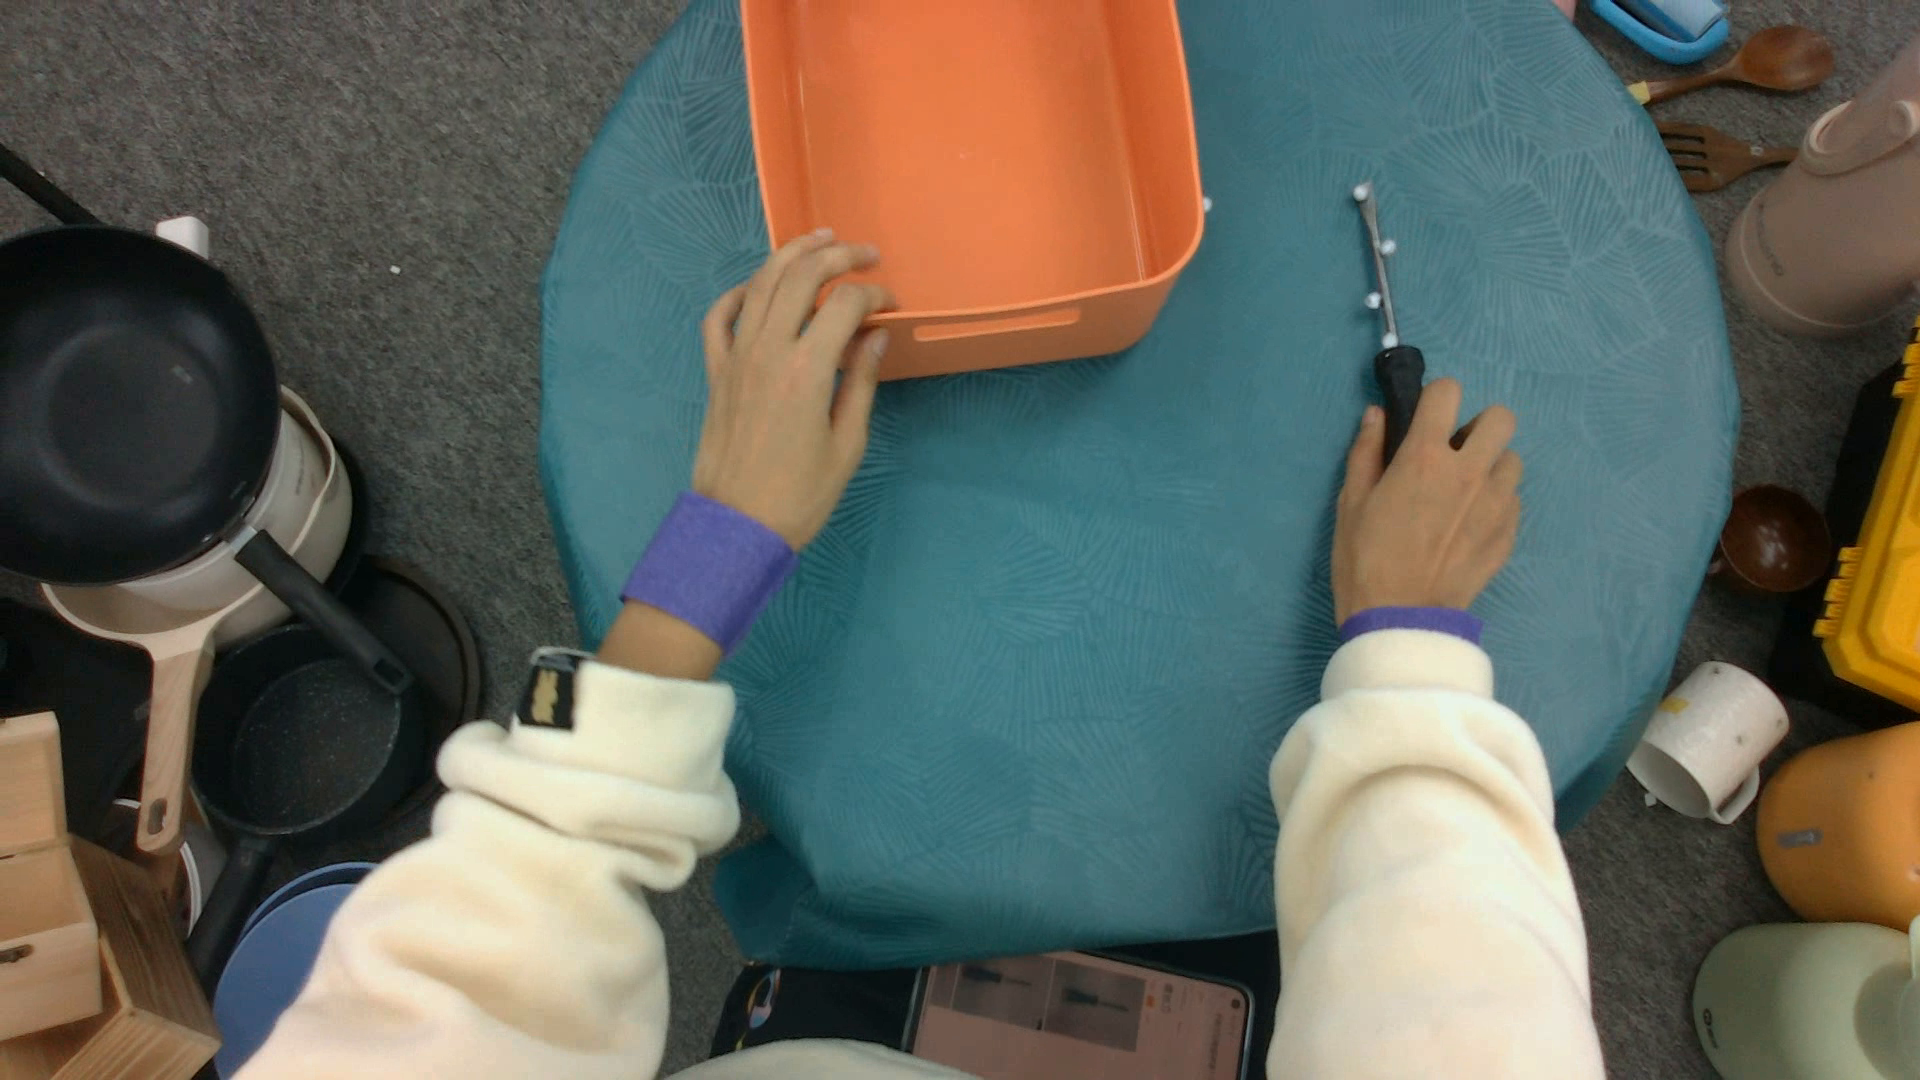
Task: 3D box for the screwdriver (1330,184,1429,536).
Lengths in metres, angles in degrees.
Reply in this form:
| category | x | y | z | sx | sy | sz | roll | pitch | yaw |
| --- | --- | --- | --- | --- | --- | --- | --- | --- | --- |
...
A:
| category | x | y | z | sx | sy | sz | roll | pitch | yaw |
| --- | --- | --- | --- | --- | --- | --- | --- | --- | --- |
| screwdriver | 0.195 | -0.092 | 0.670 | 0.031 | 0.031 | 0.198 | -4 | 62 | -1 |

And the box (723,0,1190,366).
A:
| category | x | y | z | sx | sy | sz | roll | pitch | yaw |
| --- | --- | --- | --- | --- | --- | --- | --- | --- | --- |
| box | -0.008 | -0.221 | 0.675 | 0.199 | 0.102 | 0.274 | -7 | 73 | -3 |
